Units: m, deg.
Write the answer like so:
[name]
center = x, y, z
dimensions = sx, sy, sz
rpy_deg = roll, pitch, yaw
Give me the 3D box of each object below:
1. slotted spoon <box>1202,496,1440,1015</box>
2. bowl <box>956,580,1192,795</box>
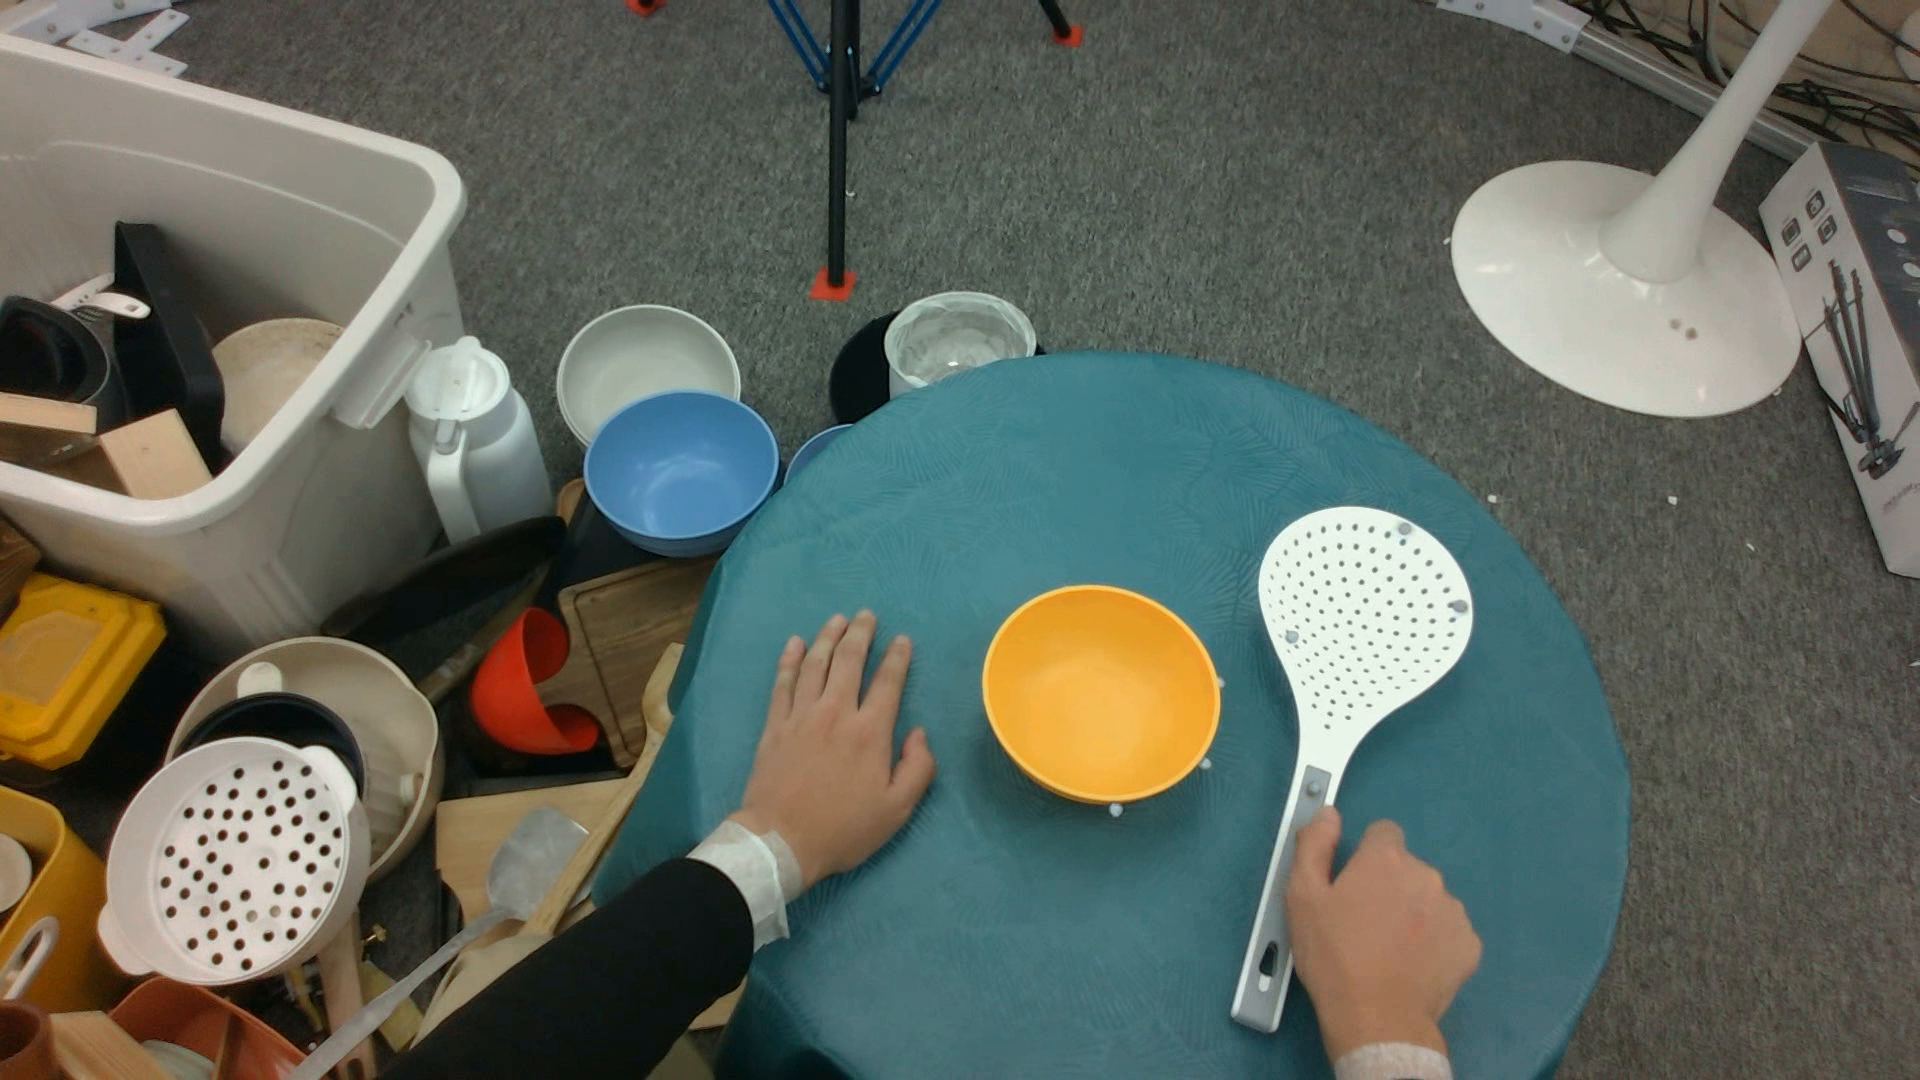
[slotted spoon]
center = 0.209, 0.121, 0.855
dimensions = 0.136, 0.045, 0.351
rpy_deg = 18, 57, 9
[bowl]
center = 0.066, 0.099, 0.846
dimensions = 0.145, 0.060, 0.146
rpy_deg = 3, 54, -5
